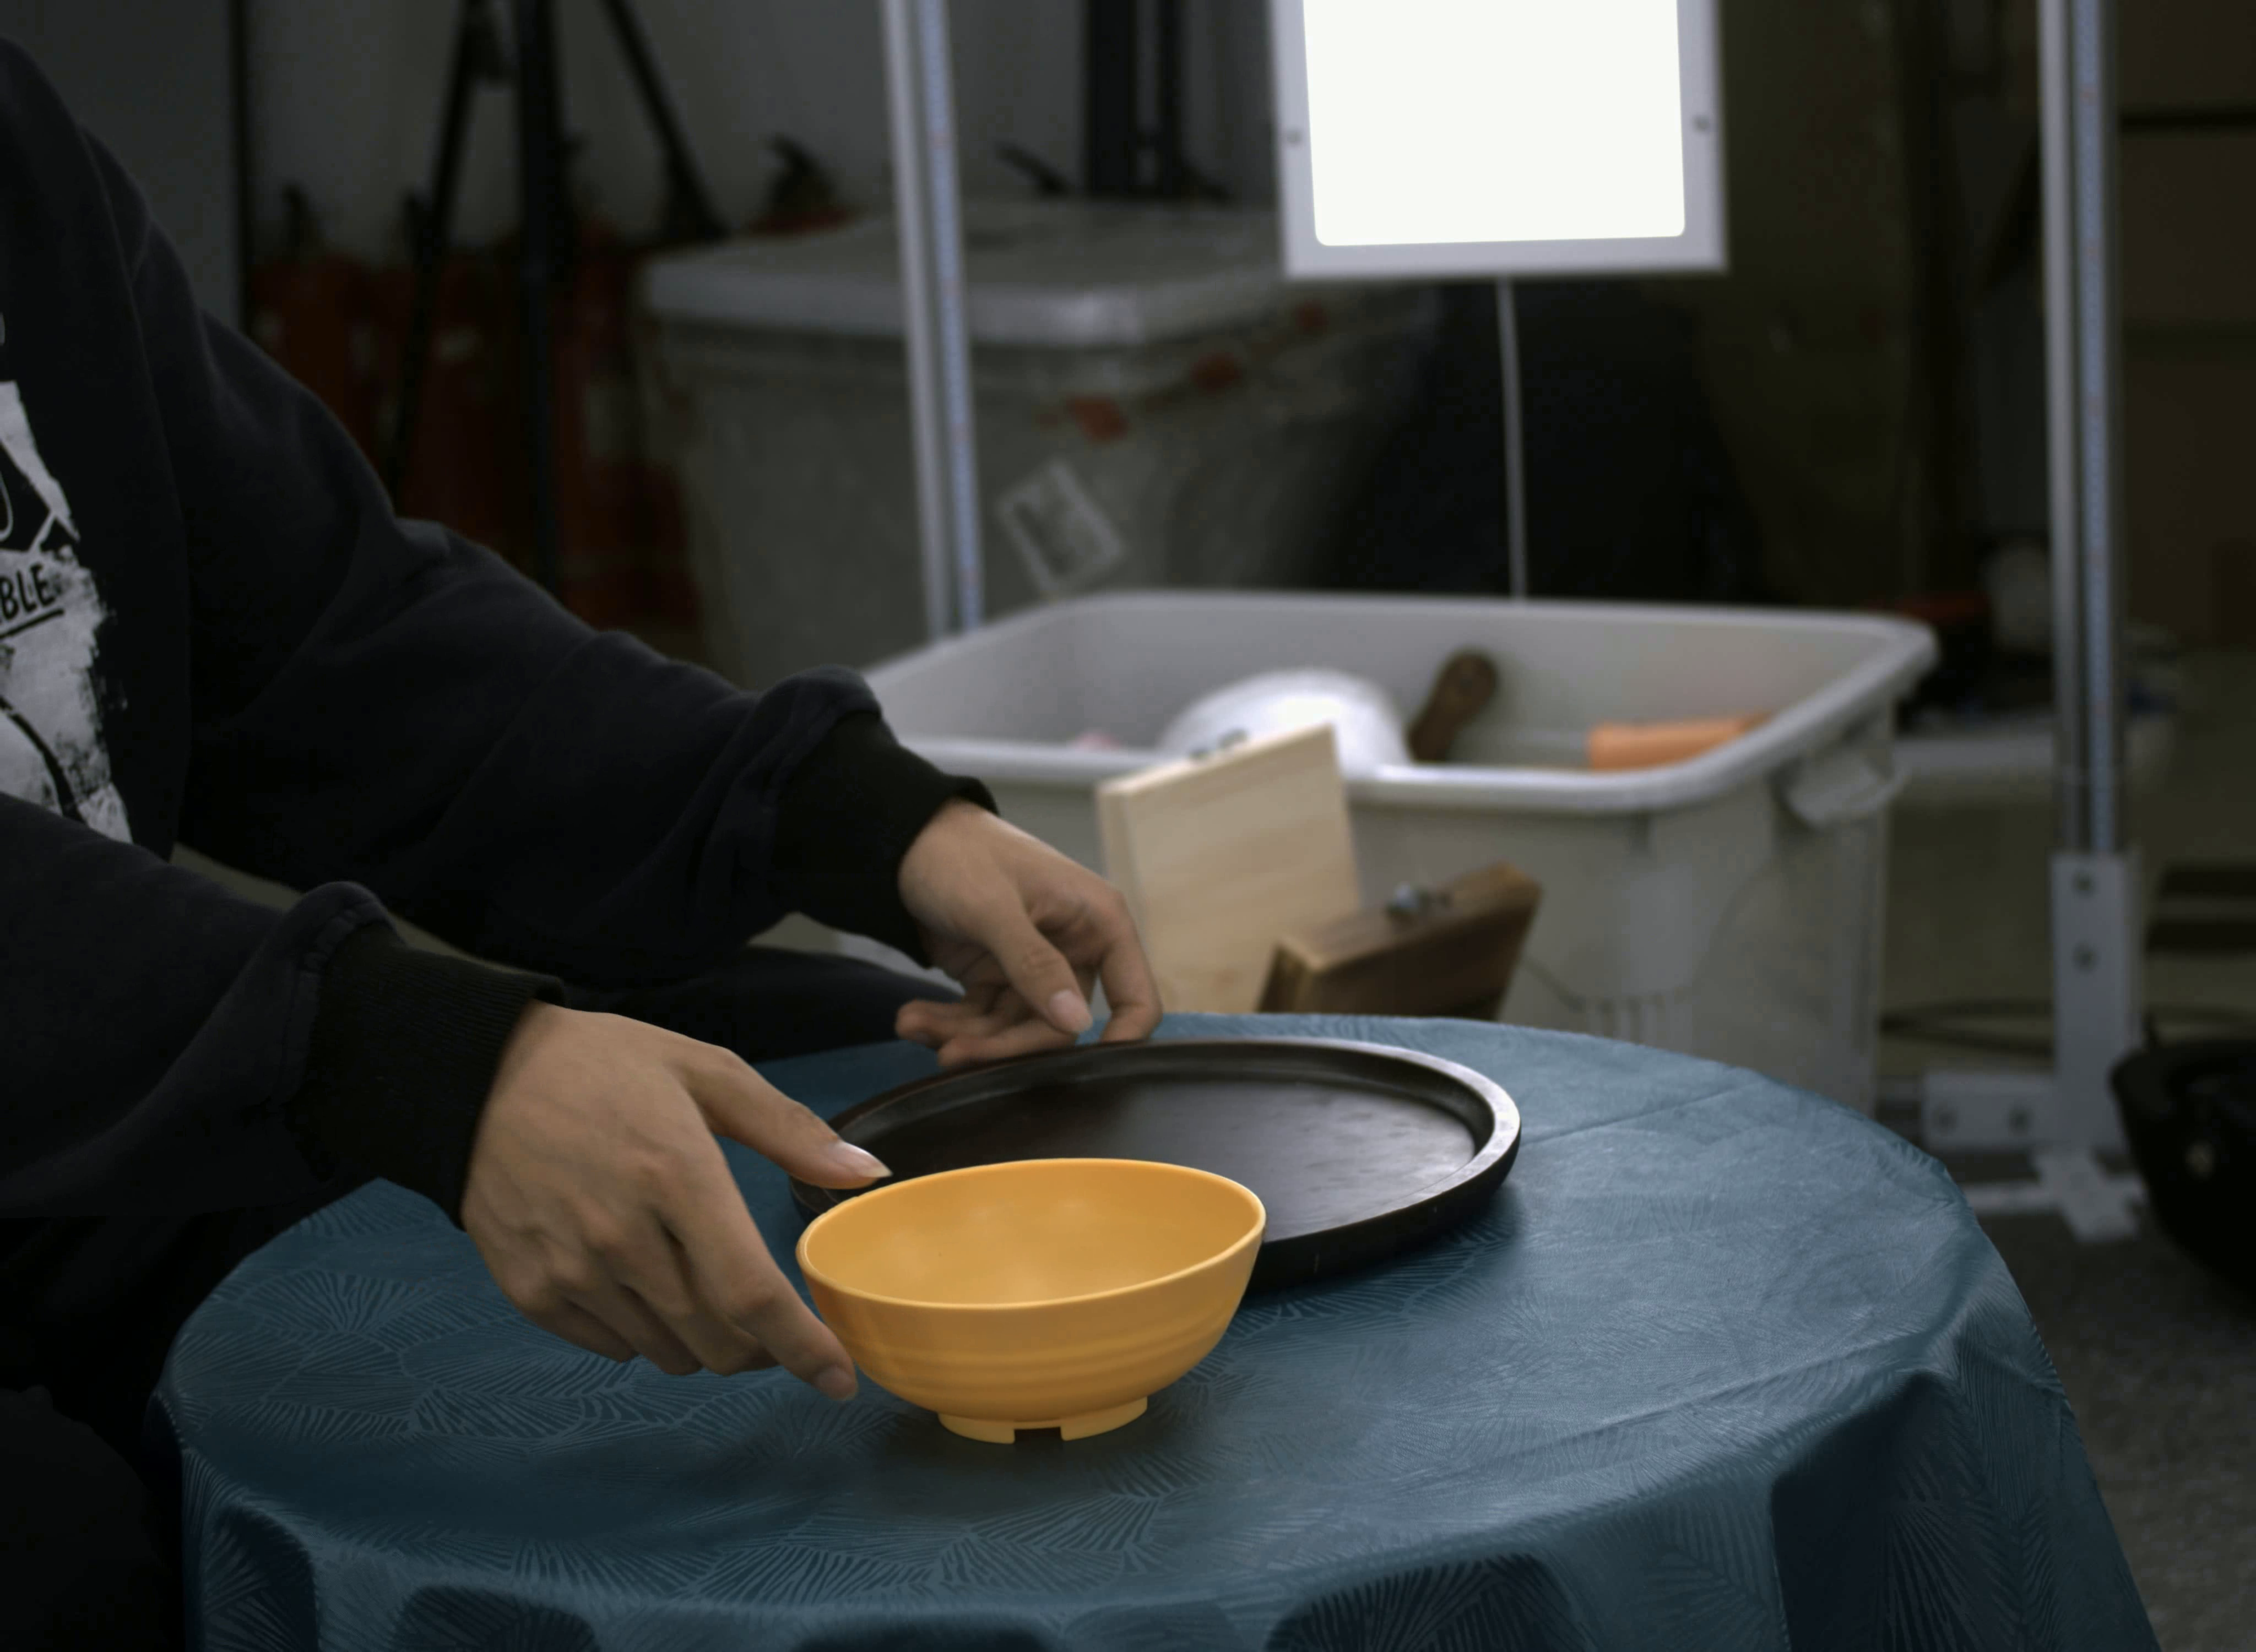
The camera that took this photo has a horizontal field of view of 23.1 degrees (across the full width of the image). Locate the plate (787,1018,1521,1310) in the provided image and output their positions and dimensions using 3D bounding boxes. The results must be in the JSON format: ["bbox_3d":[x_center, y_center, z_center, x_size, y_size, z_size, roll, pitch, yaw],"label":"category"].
[{"bbox_3d":[0.009,0.117,1.886,0.254,0.029,0.254,-6,15,0],"label":"plate"}]

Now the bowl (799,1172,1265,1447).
[{"bbox_3d":[-0.027,0.152,1.685,0.145,0.060,0.145,-5,11,0],"label":"bowl"}]
